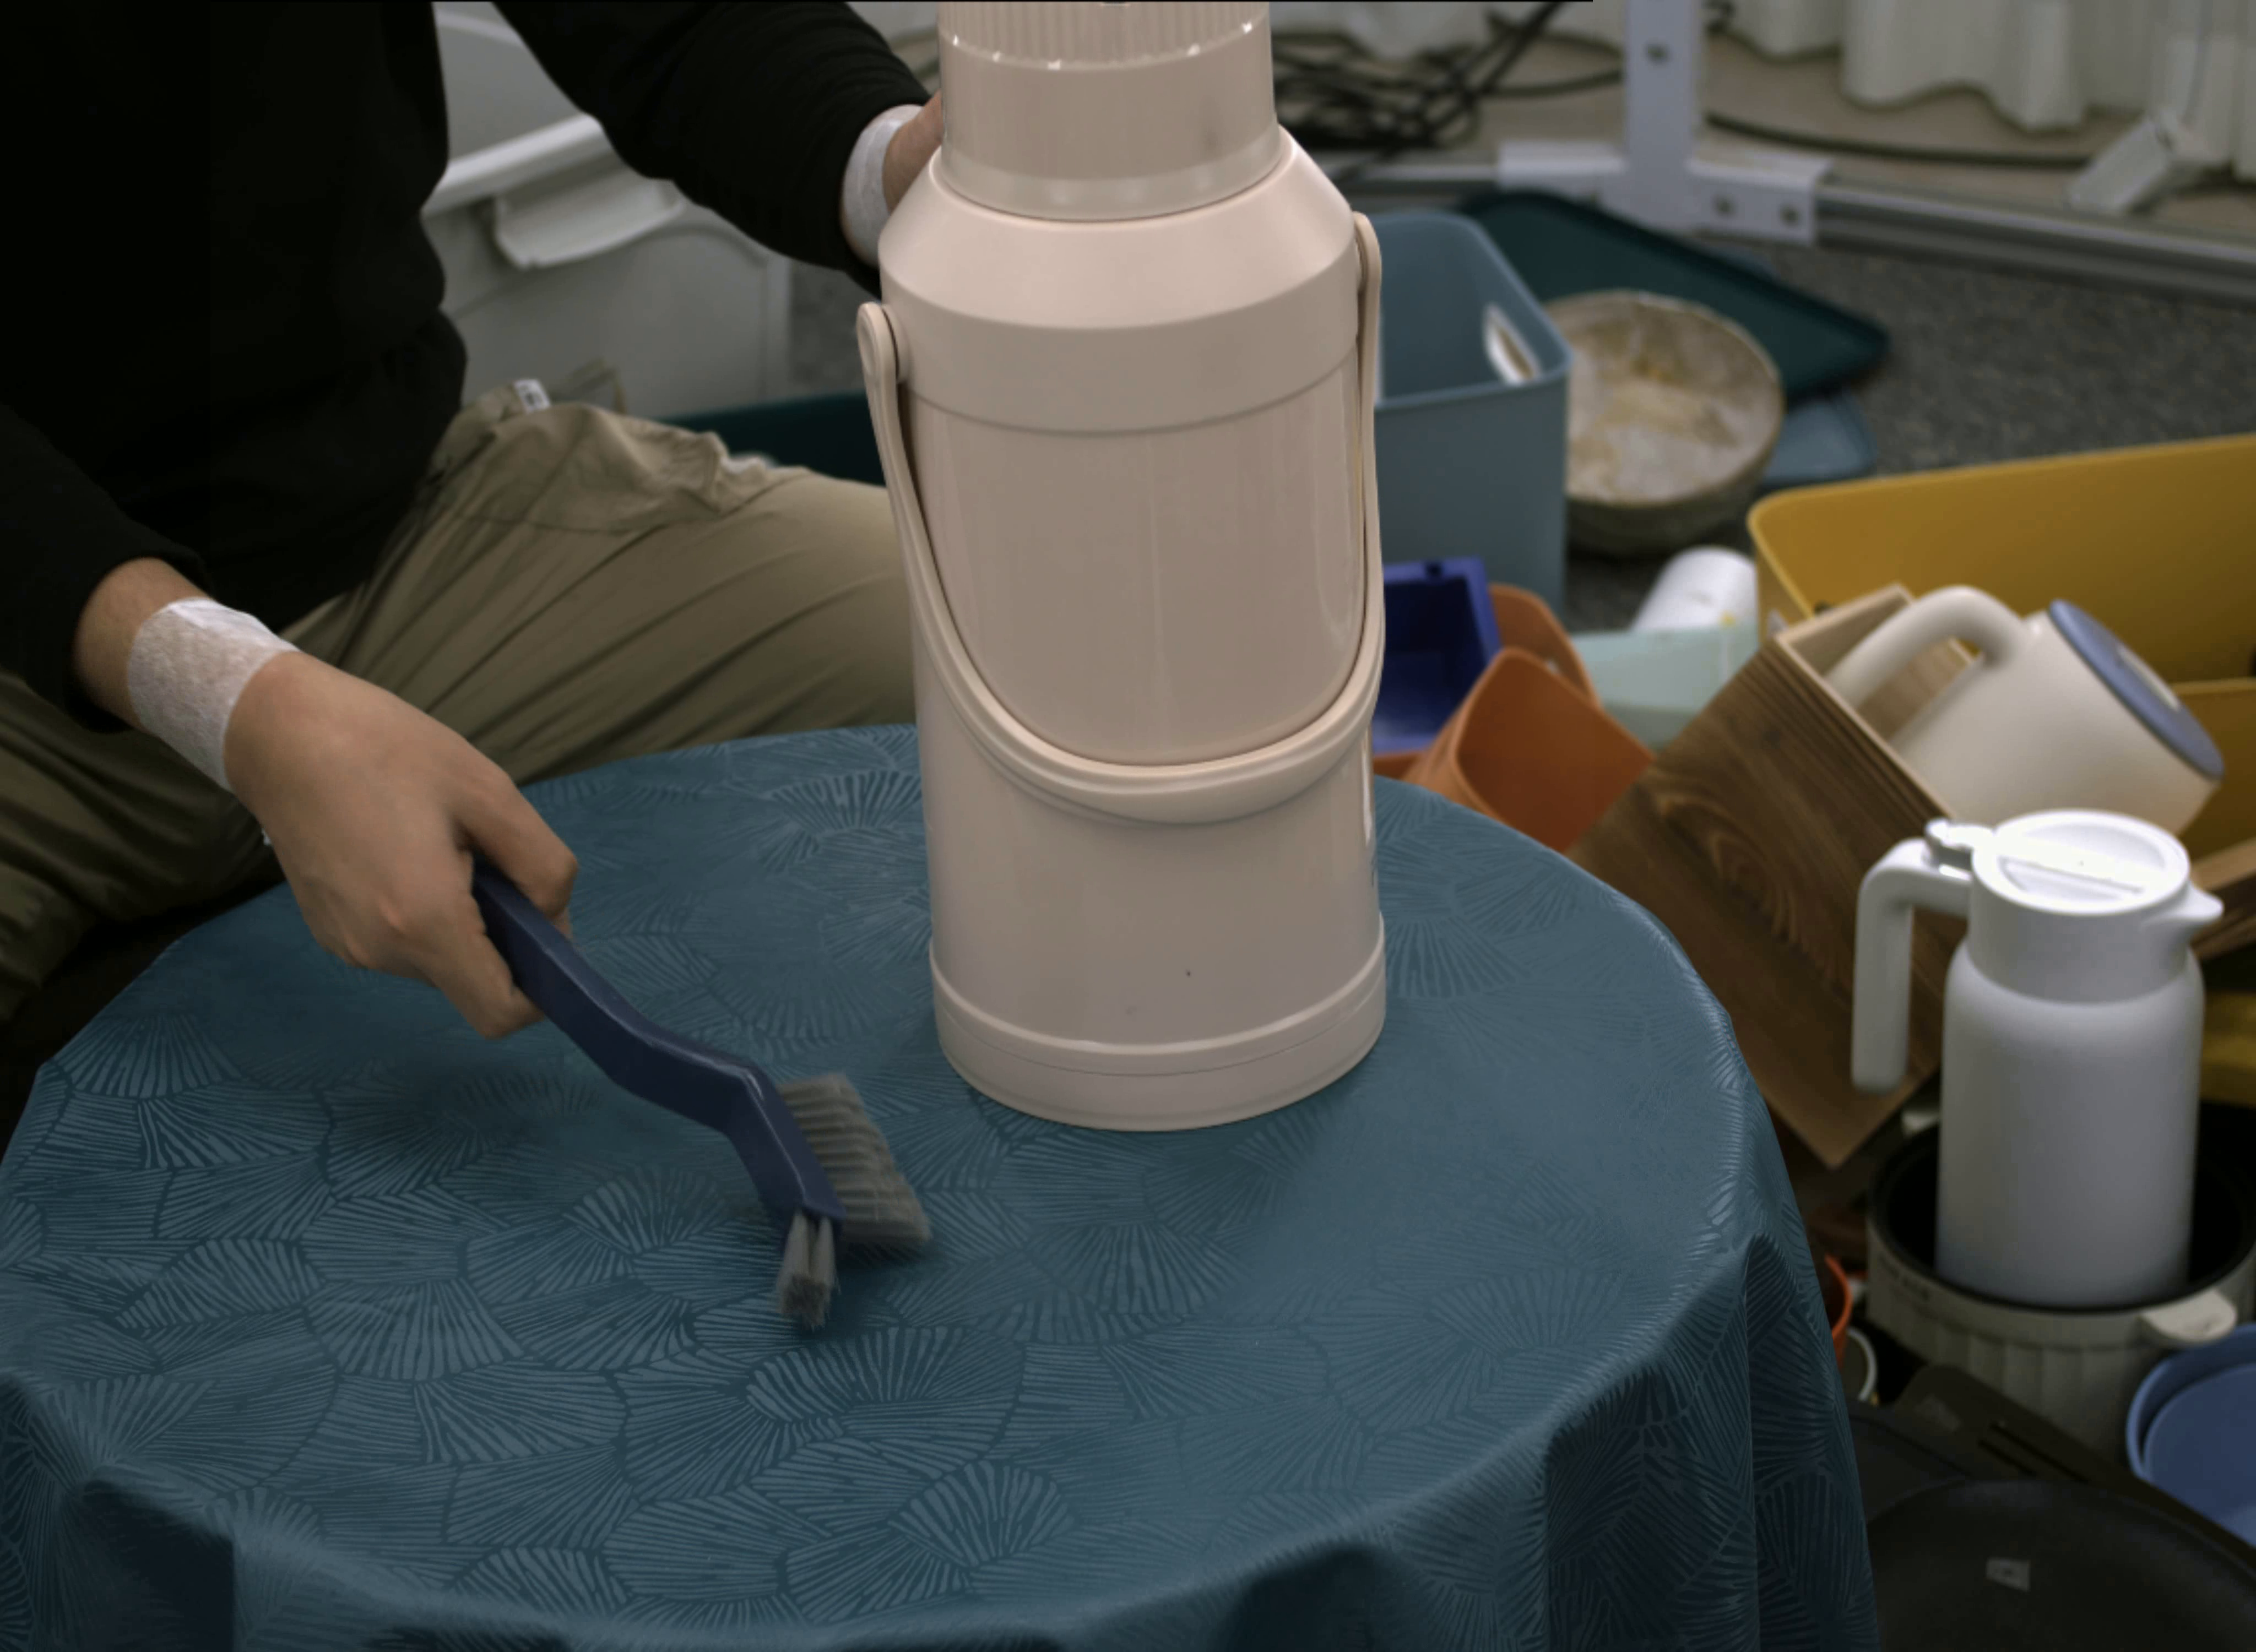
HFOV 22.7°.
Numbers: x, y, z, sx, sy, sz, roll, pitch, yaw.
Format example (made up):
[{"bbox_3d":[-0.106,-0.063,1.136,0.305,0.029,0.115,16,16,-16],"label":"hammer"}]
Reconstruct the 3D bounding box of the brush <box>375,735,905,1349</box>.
[{"bbox_3d":[-0.178,0.067,1.864,0.274,0.033,0.097,37,40,24],"label":"brush"}]

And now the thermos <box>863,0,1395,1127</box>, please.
[{"bbox_3d":[0.000,-0.116,1.893,0.176,0.402,0.209,-13,28,-16],"label":"thermos"}]
